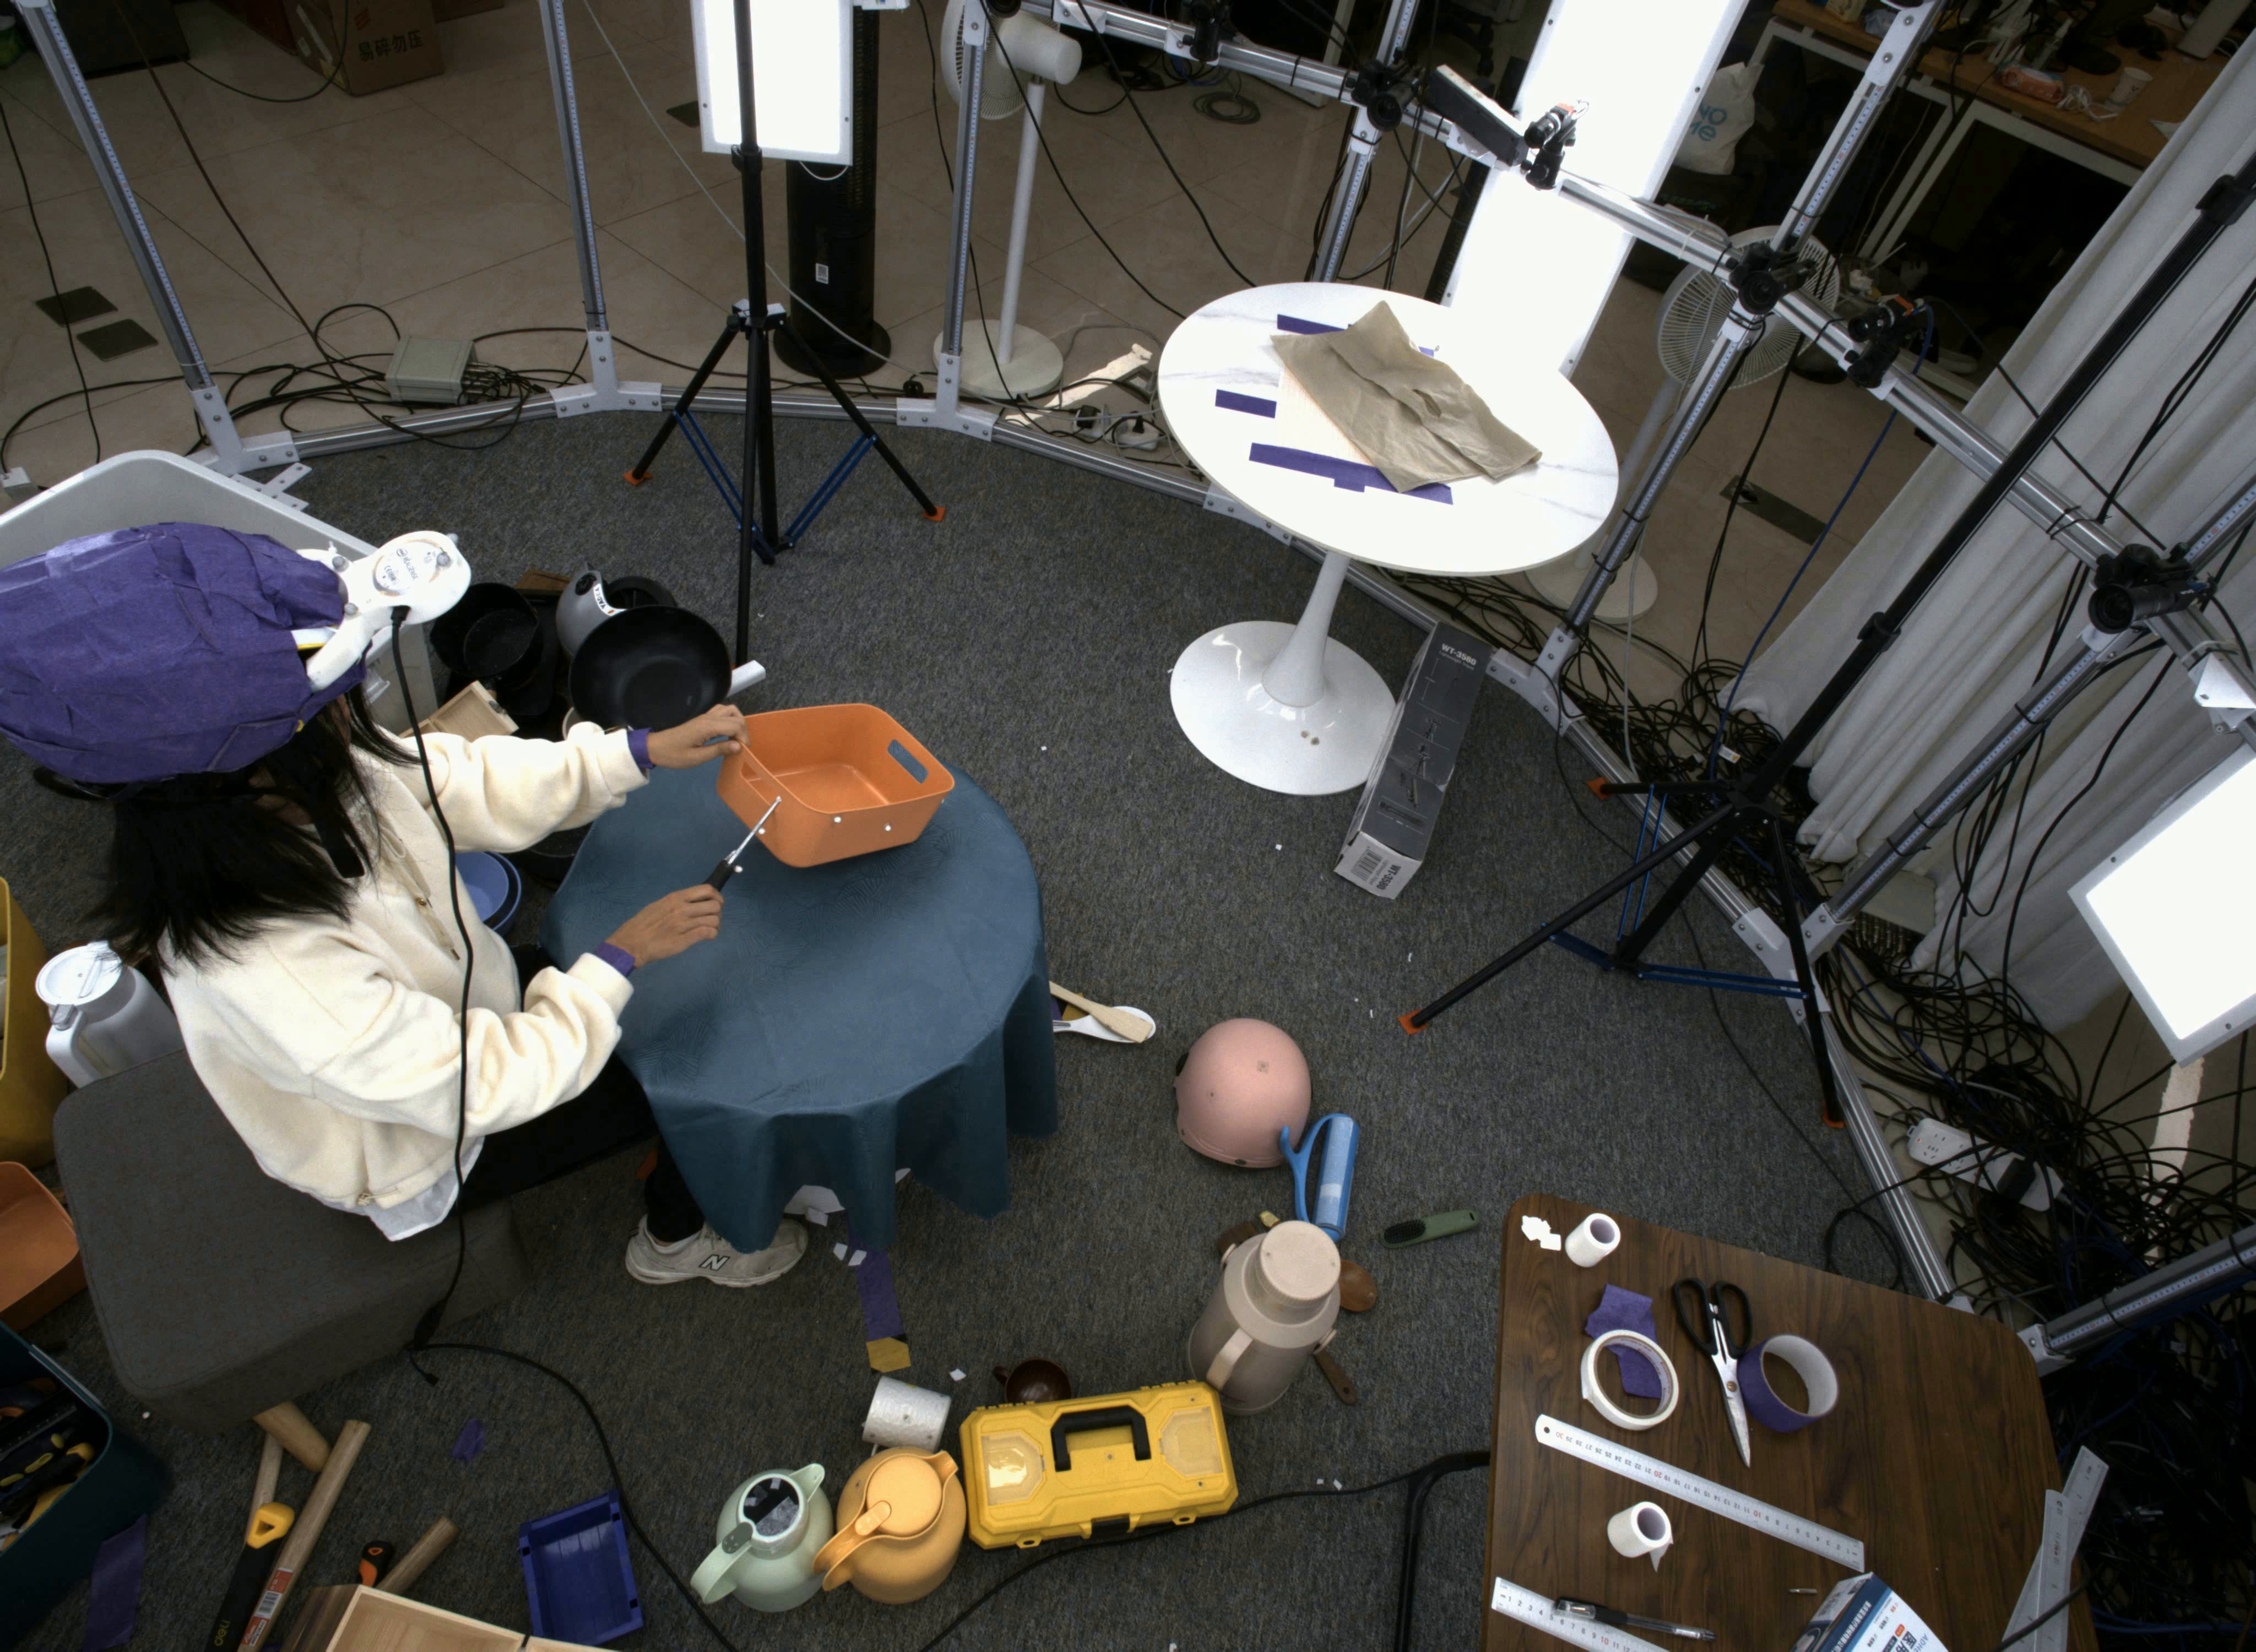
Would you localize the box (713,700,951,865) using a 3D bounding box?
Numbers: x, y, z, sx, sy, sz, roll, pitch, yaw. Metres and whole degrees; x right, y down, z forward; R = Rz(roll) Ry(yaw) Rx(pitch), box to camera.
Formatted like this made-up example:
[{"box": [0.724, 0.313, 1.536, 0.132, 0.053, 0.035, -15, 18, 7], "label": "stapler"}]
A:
[{"box": [-0.379, -0.058, 1.647, 0.195, 0.103, 0.276, 43, 28, 18], "label": "box"}]

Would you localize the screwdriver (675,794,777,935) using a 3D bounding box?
[{"box": [-0.459, 0.041, 1.498, 0.031, 0.032, 0.196, 30, 69, 11], "label": "screwdriver"}]
